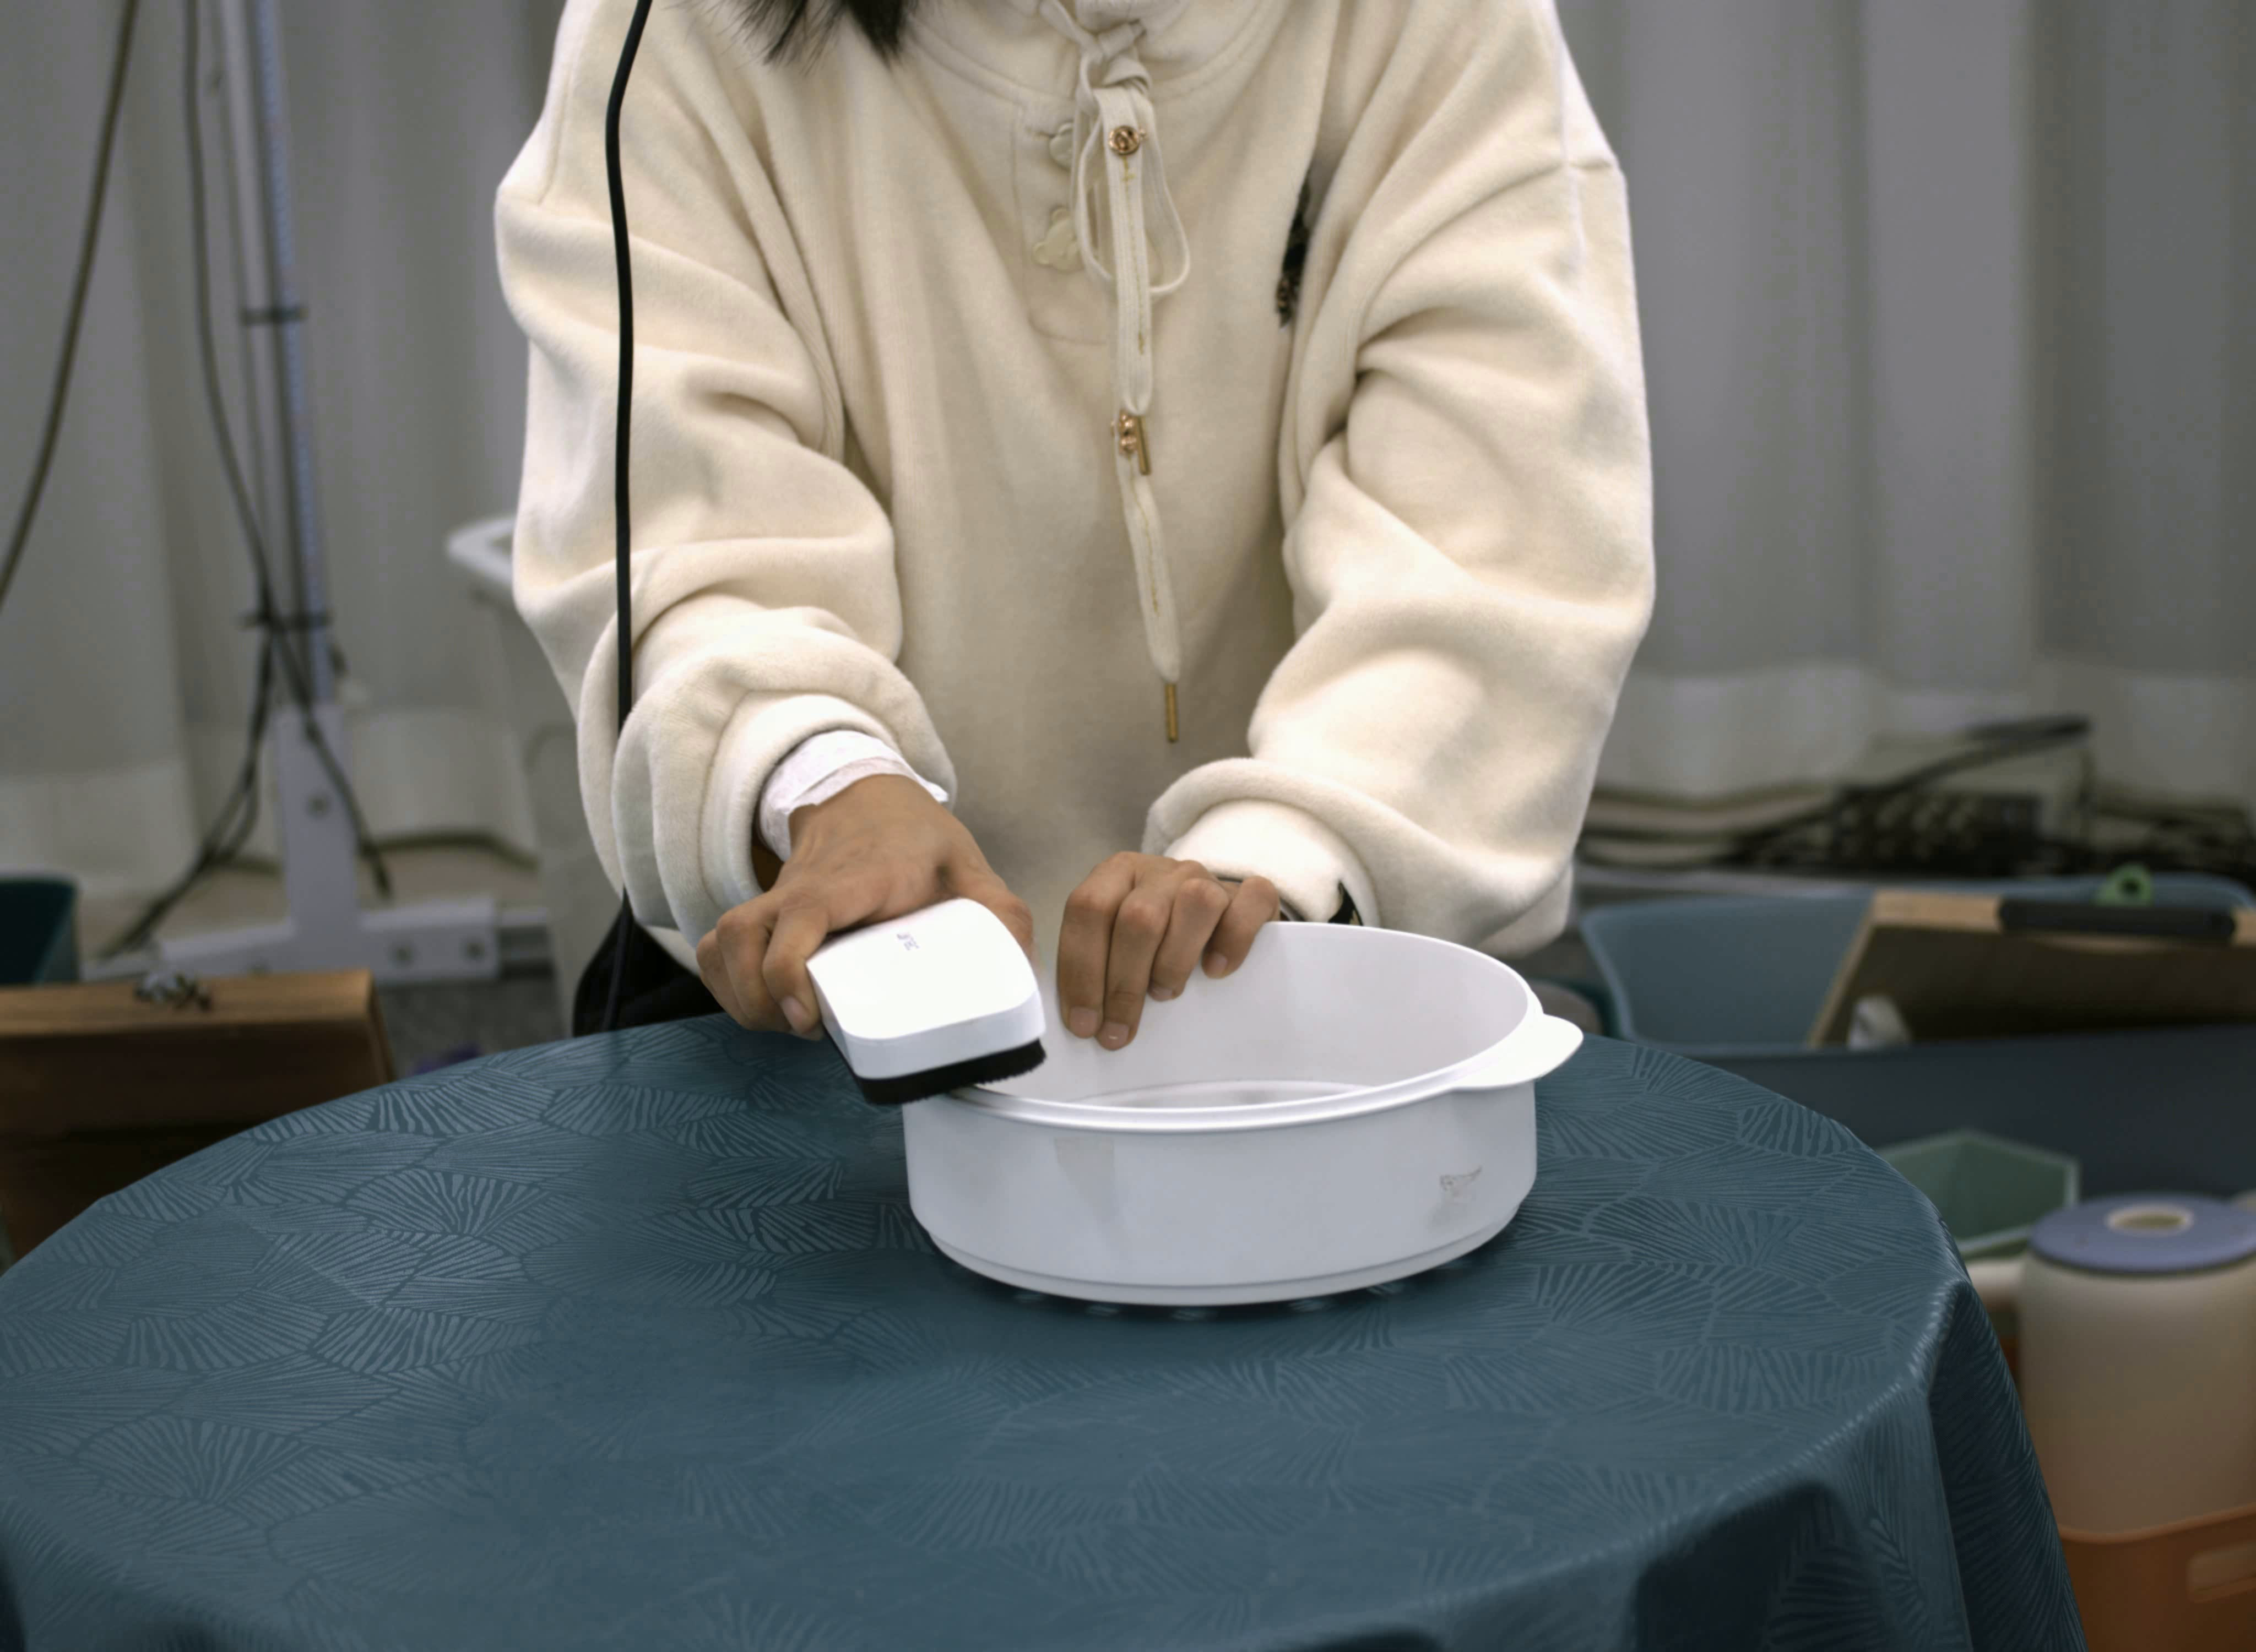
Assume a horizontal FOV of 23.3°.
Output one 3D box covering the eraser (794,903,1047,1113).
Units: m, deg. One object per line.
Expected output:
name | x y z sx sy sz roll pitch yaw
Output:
eraser | -0.062 0.051 1.646 0.063 0.034 0.132 -12 15 -8

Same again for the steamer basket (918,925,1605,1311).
steamer basket | 0.033 0.089 1.675 0.231 0.069 0.202 5 16 24
